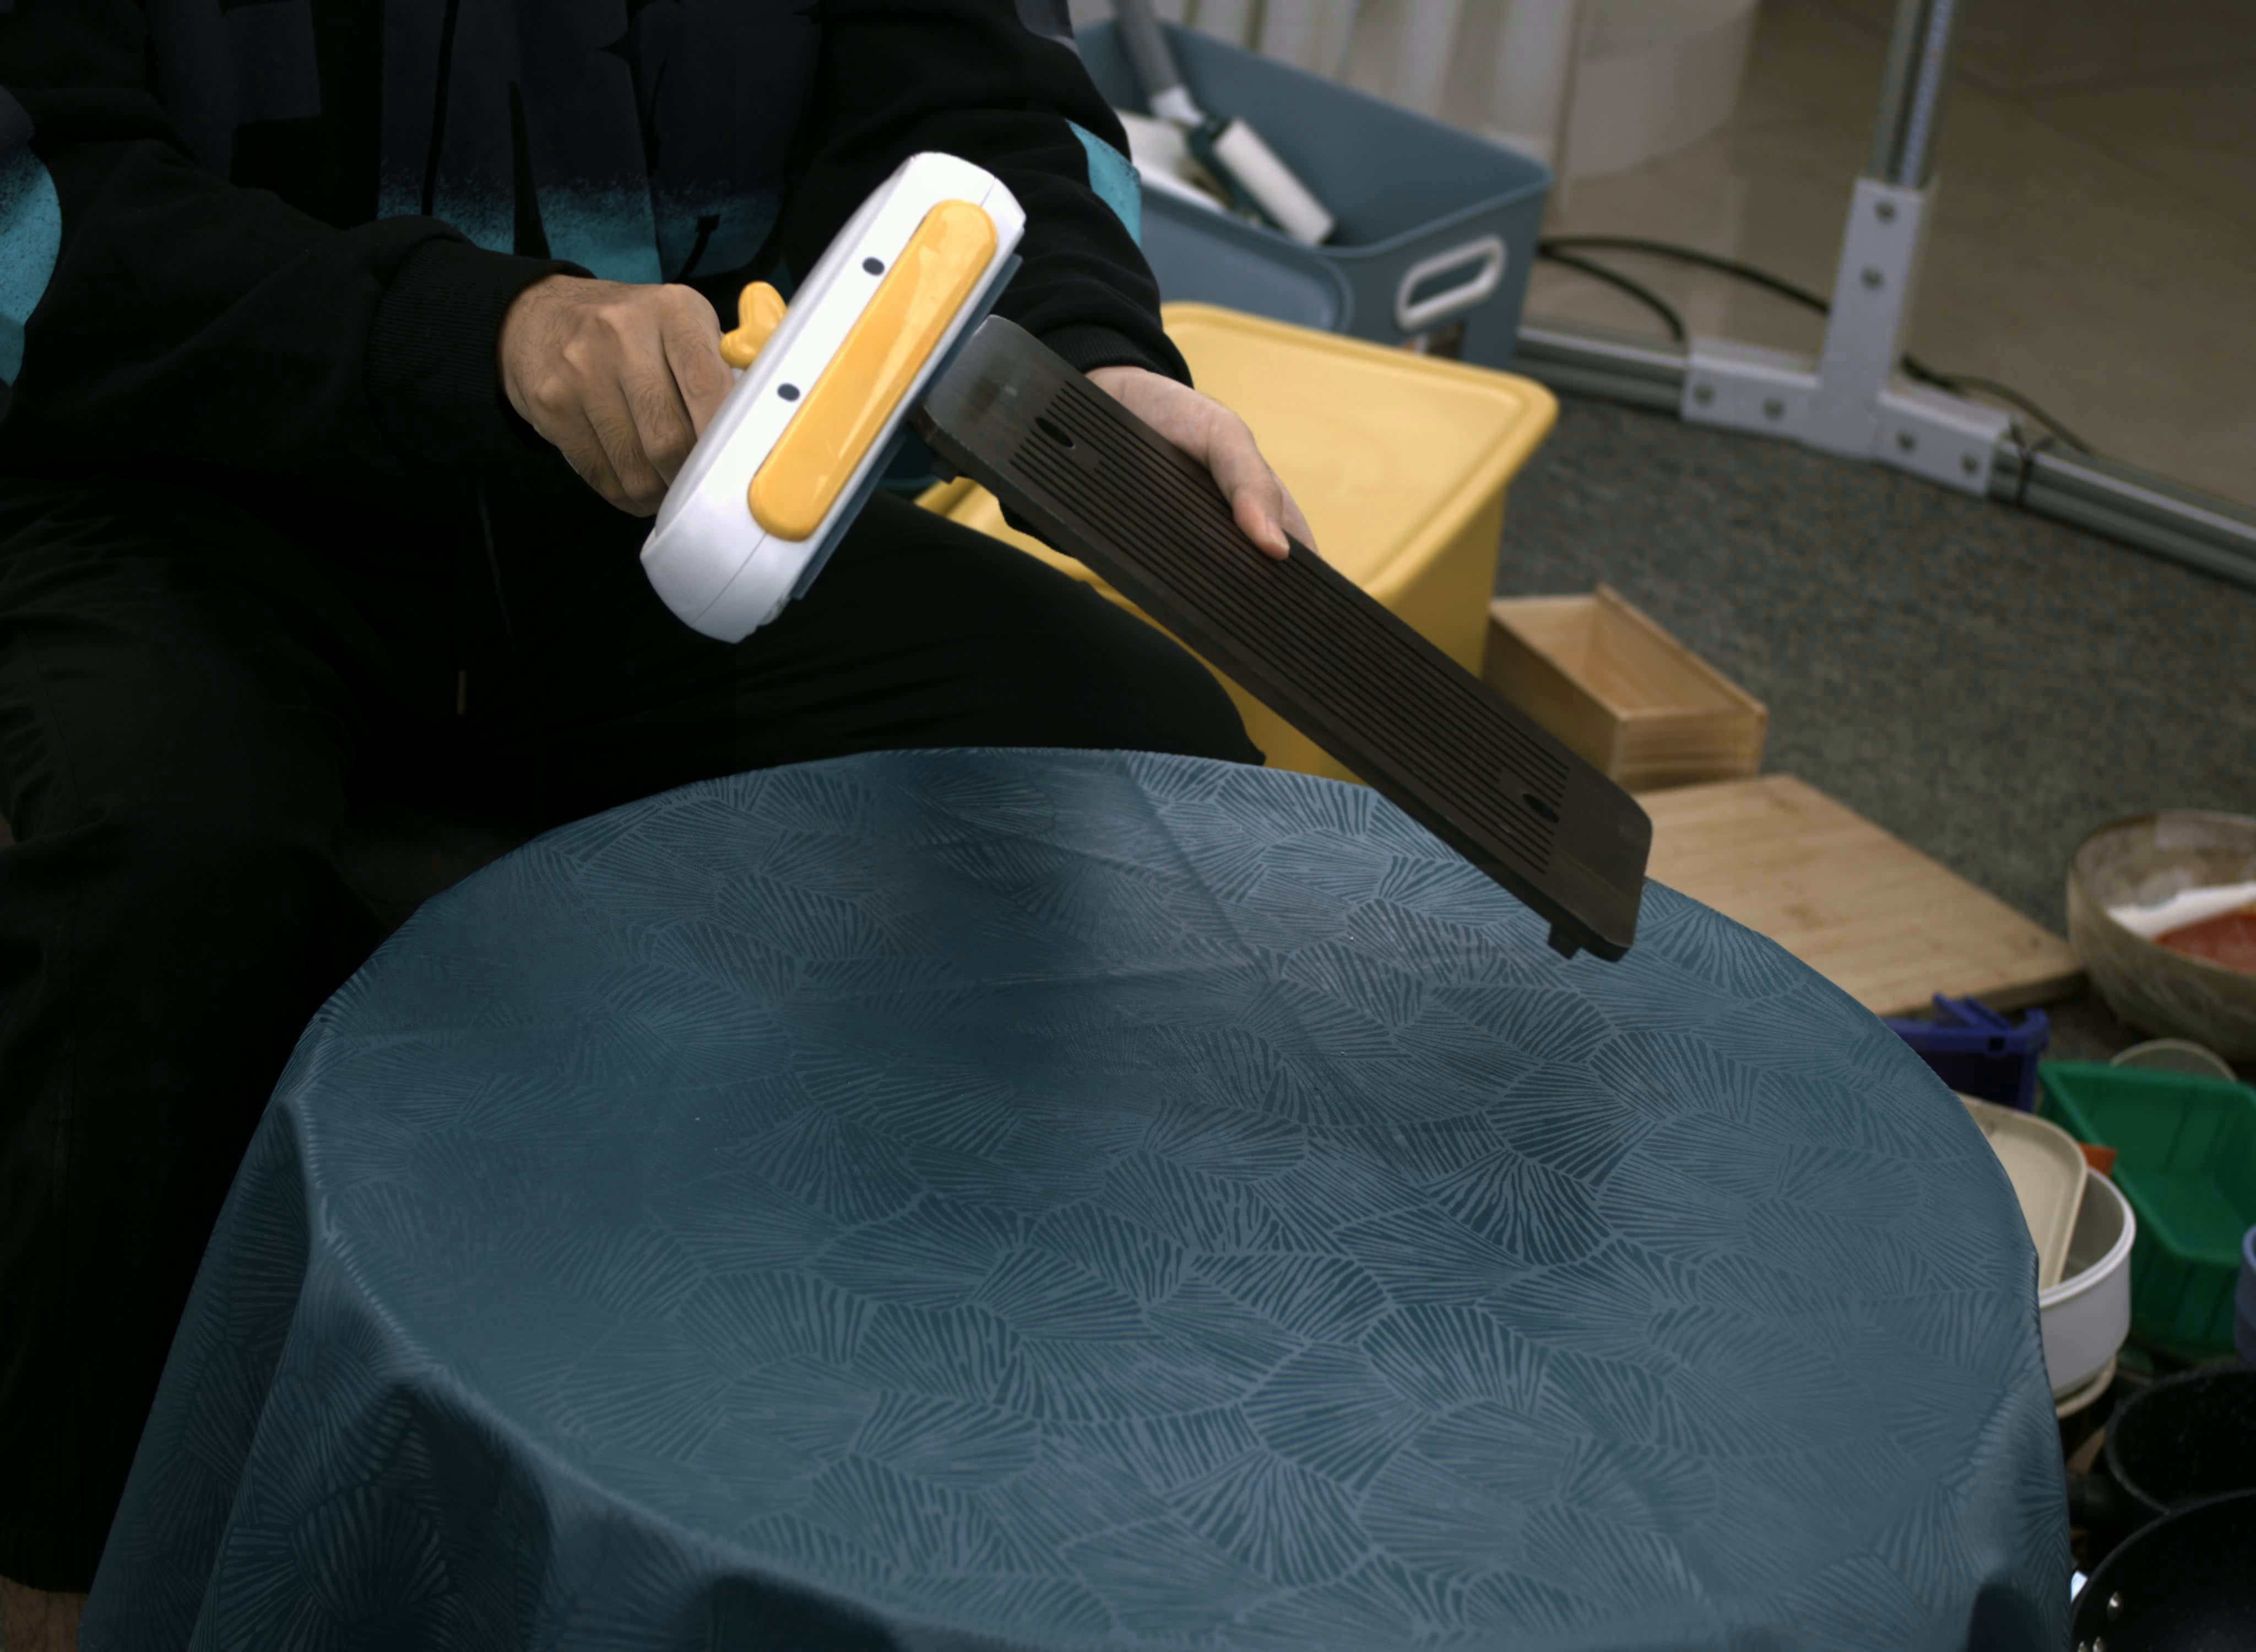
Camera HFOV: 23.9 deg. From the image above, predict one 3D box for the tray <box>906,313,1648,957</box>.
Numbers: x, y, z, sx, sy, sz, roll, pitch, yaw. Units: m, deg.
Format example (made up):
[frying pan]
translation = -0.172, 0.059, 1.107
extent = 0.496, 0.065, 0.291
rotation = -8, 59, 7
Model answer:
[tray]
translation = 0.055, -0.067, 1.861
extent = 0.305, 0.018, 0.170
rotation = 37, 18, -3

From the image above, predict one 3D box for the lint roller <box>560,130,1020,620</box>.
[lint roller]
translation = -0.132, -0.144, 1.851
extent = 0.073, 0.193, 0.193
rotation = 35, 61, -19
